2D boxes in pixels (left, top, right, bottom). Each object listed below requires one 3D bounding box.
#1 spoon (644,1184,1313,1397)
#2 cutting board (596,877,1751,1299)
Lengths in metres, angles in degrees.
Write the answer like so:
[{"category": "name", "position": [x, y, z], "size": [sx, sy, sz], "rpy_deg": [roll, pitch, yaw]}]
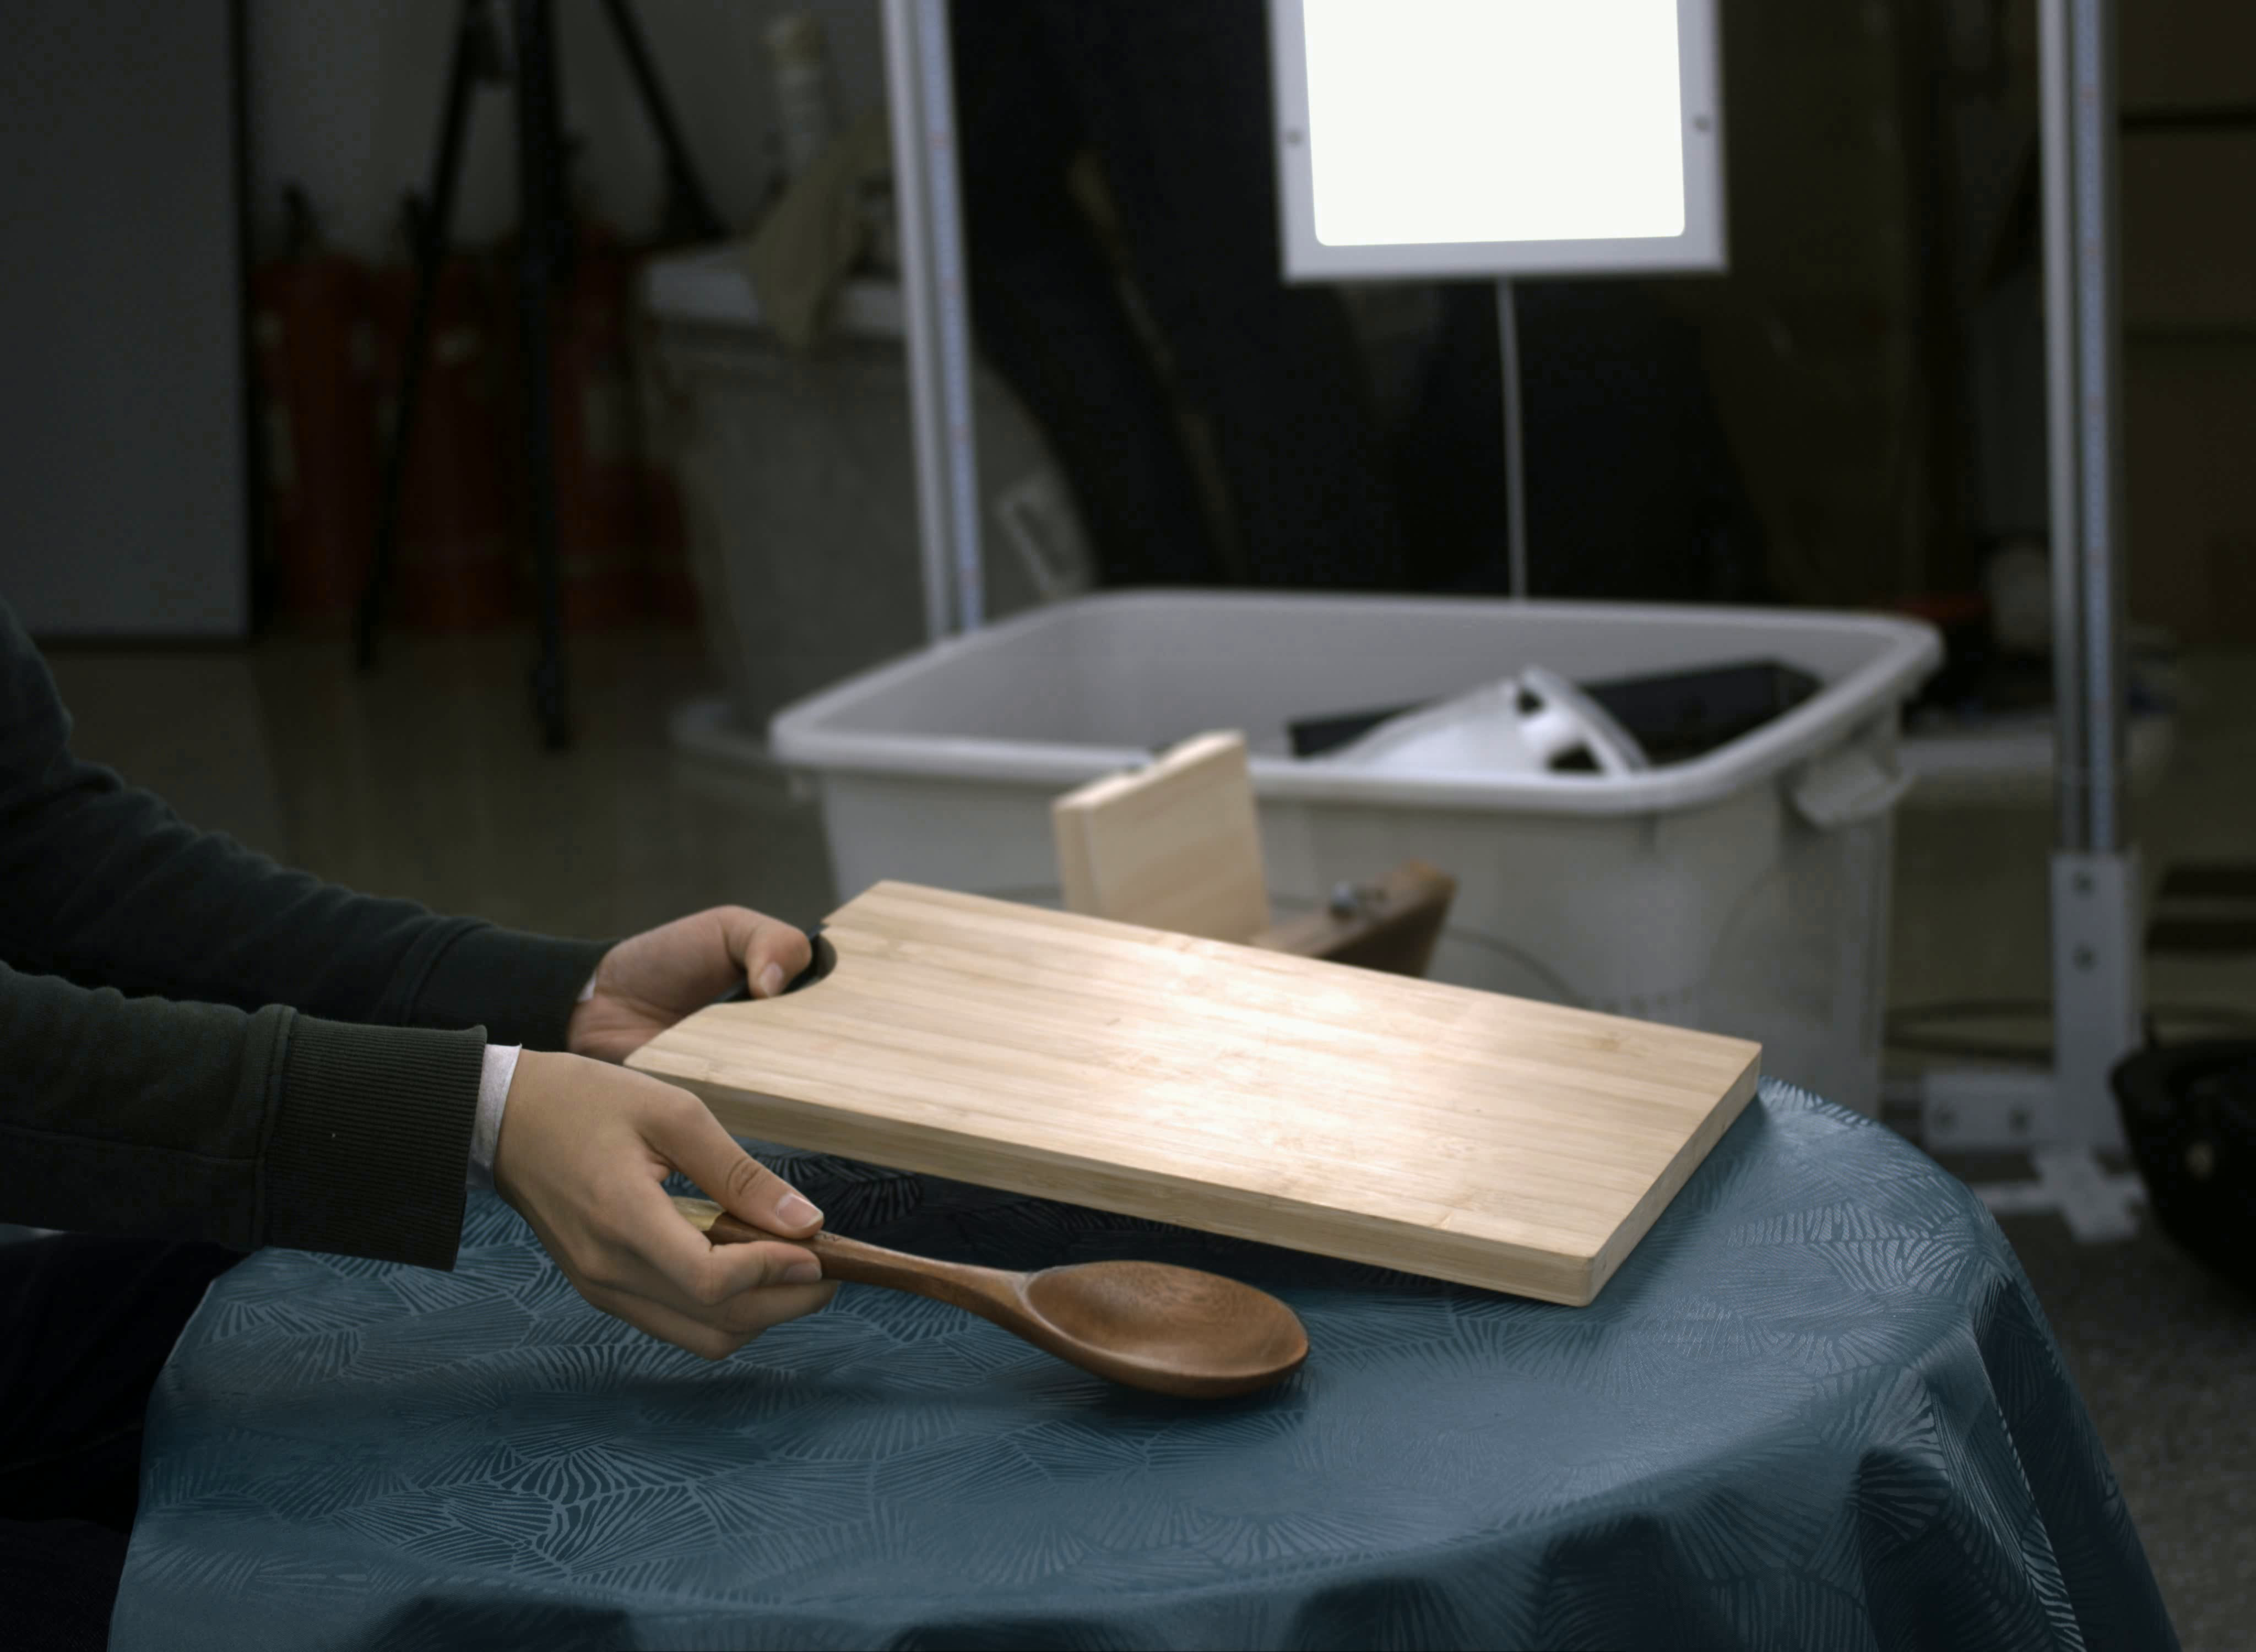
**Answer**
[{"category": "spoon", "position": [-0.048, 0.142, 1.715], "size": [0.217, 0.017, 0.074], "rpy_deg": [12, 25, 12]}, {"category": "cutting board", "position": [0.021, 0.086, 1.903], "size": [0.352, 0.024, 0.246], "rpy_deg": [10, 17, 18]}]
